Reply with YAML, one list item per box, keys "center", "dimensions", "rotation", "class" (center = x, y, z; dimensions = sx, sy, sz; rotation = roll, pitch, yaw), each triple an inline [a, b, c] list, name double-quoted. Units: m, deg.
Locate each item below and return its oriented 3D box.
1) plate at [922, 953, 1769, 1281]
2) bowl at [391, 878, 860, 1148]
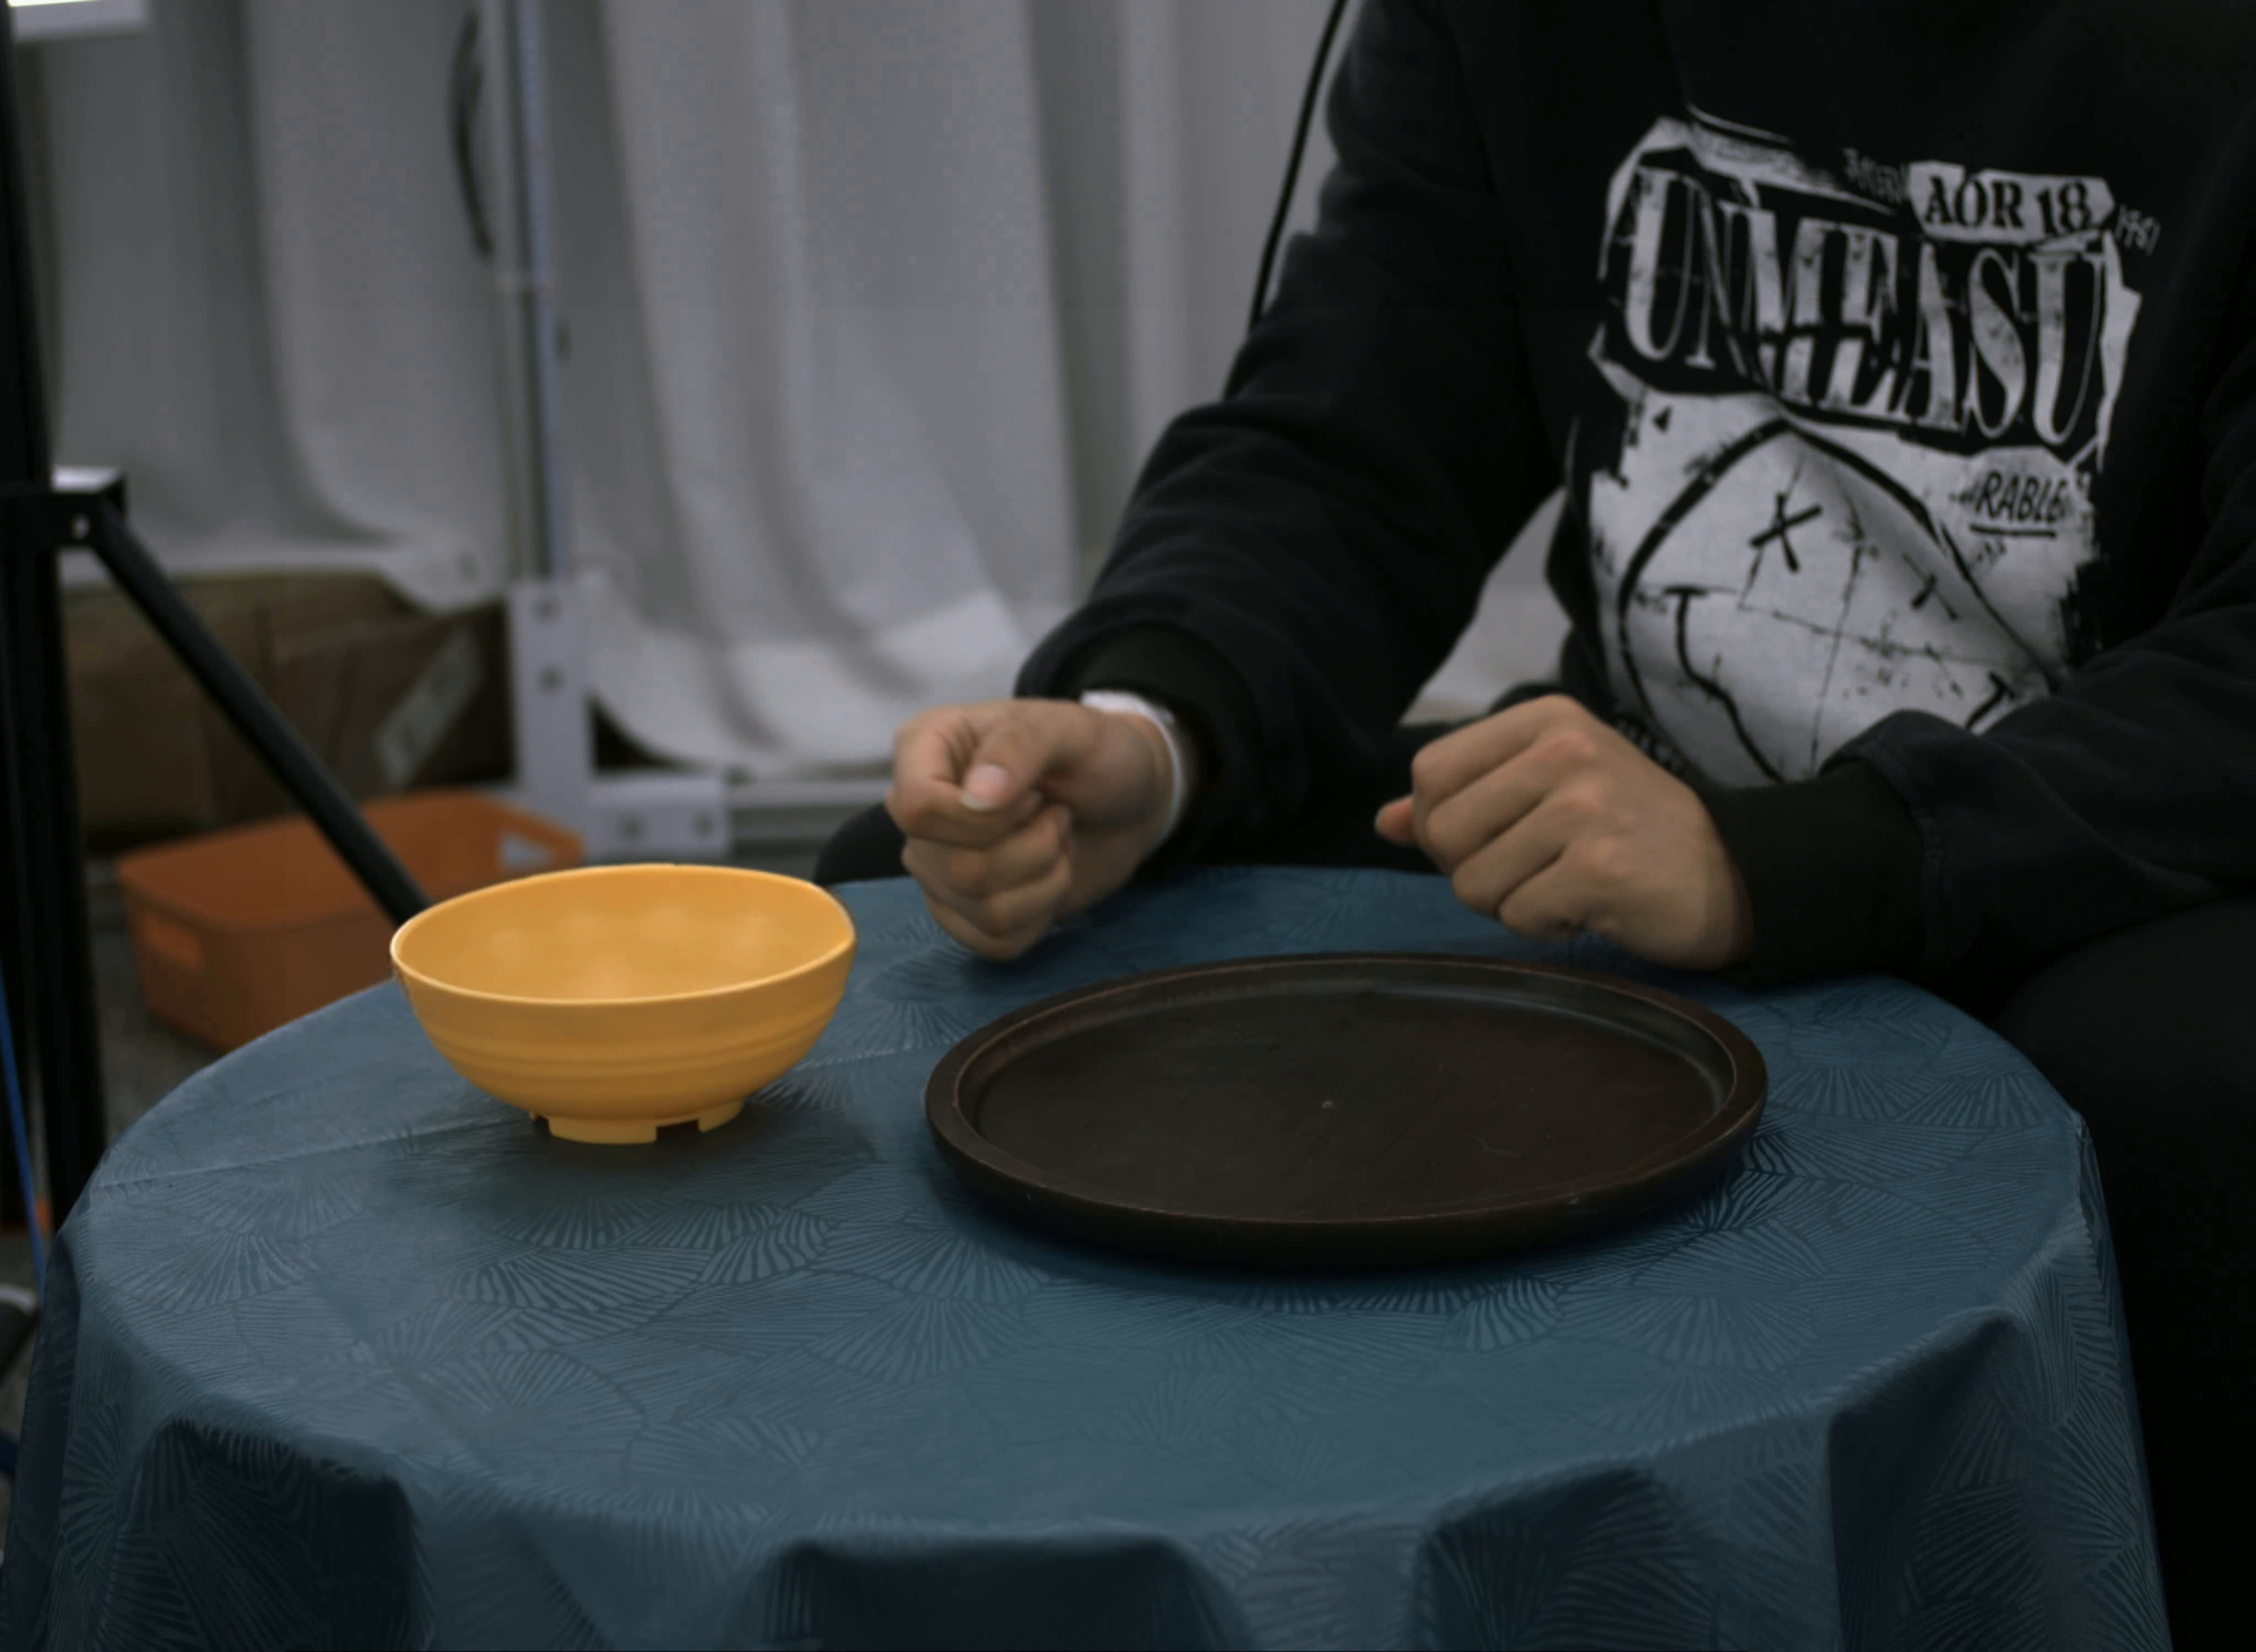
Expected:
- center: [0.065, 0.085, 1.587]
  dimensions: [0.253, 0.029, 0.256]
  rotation: [-4, 14, 0]
  class: "plate"
- center: [-0.154, 0.062, 1.646]
  dimensions: [0.144, 0.060, 0.146]
  rotation: [-1, 14, -1]
  class: "bowl"
